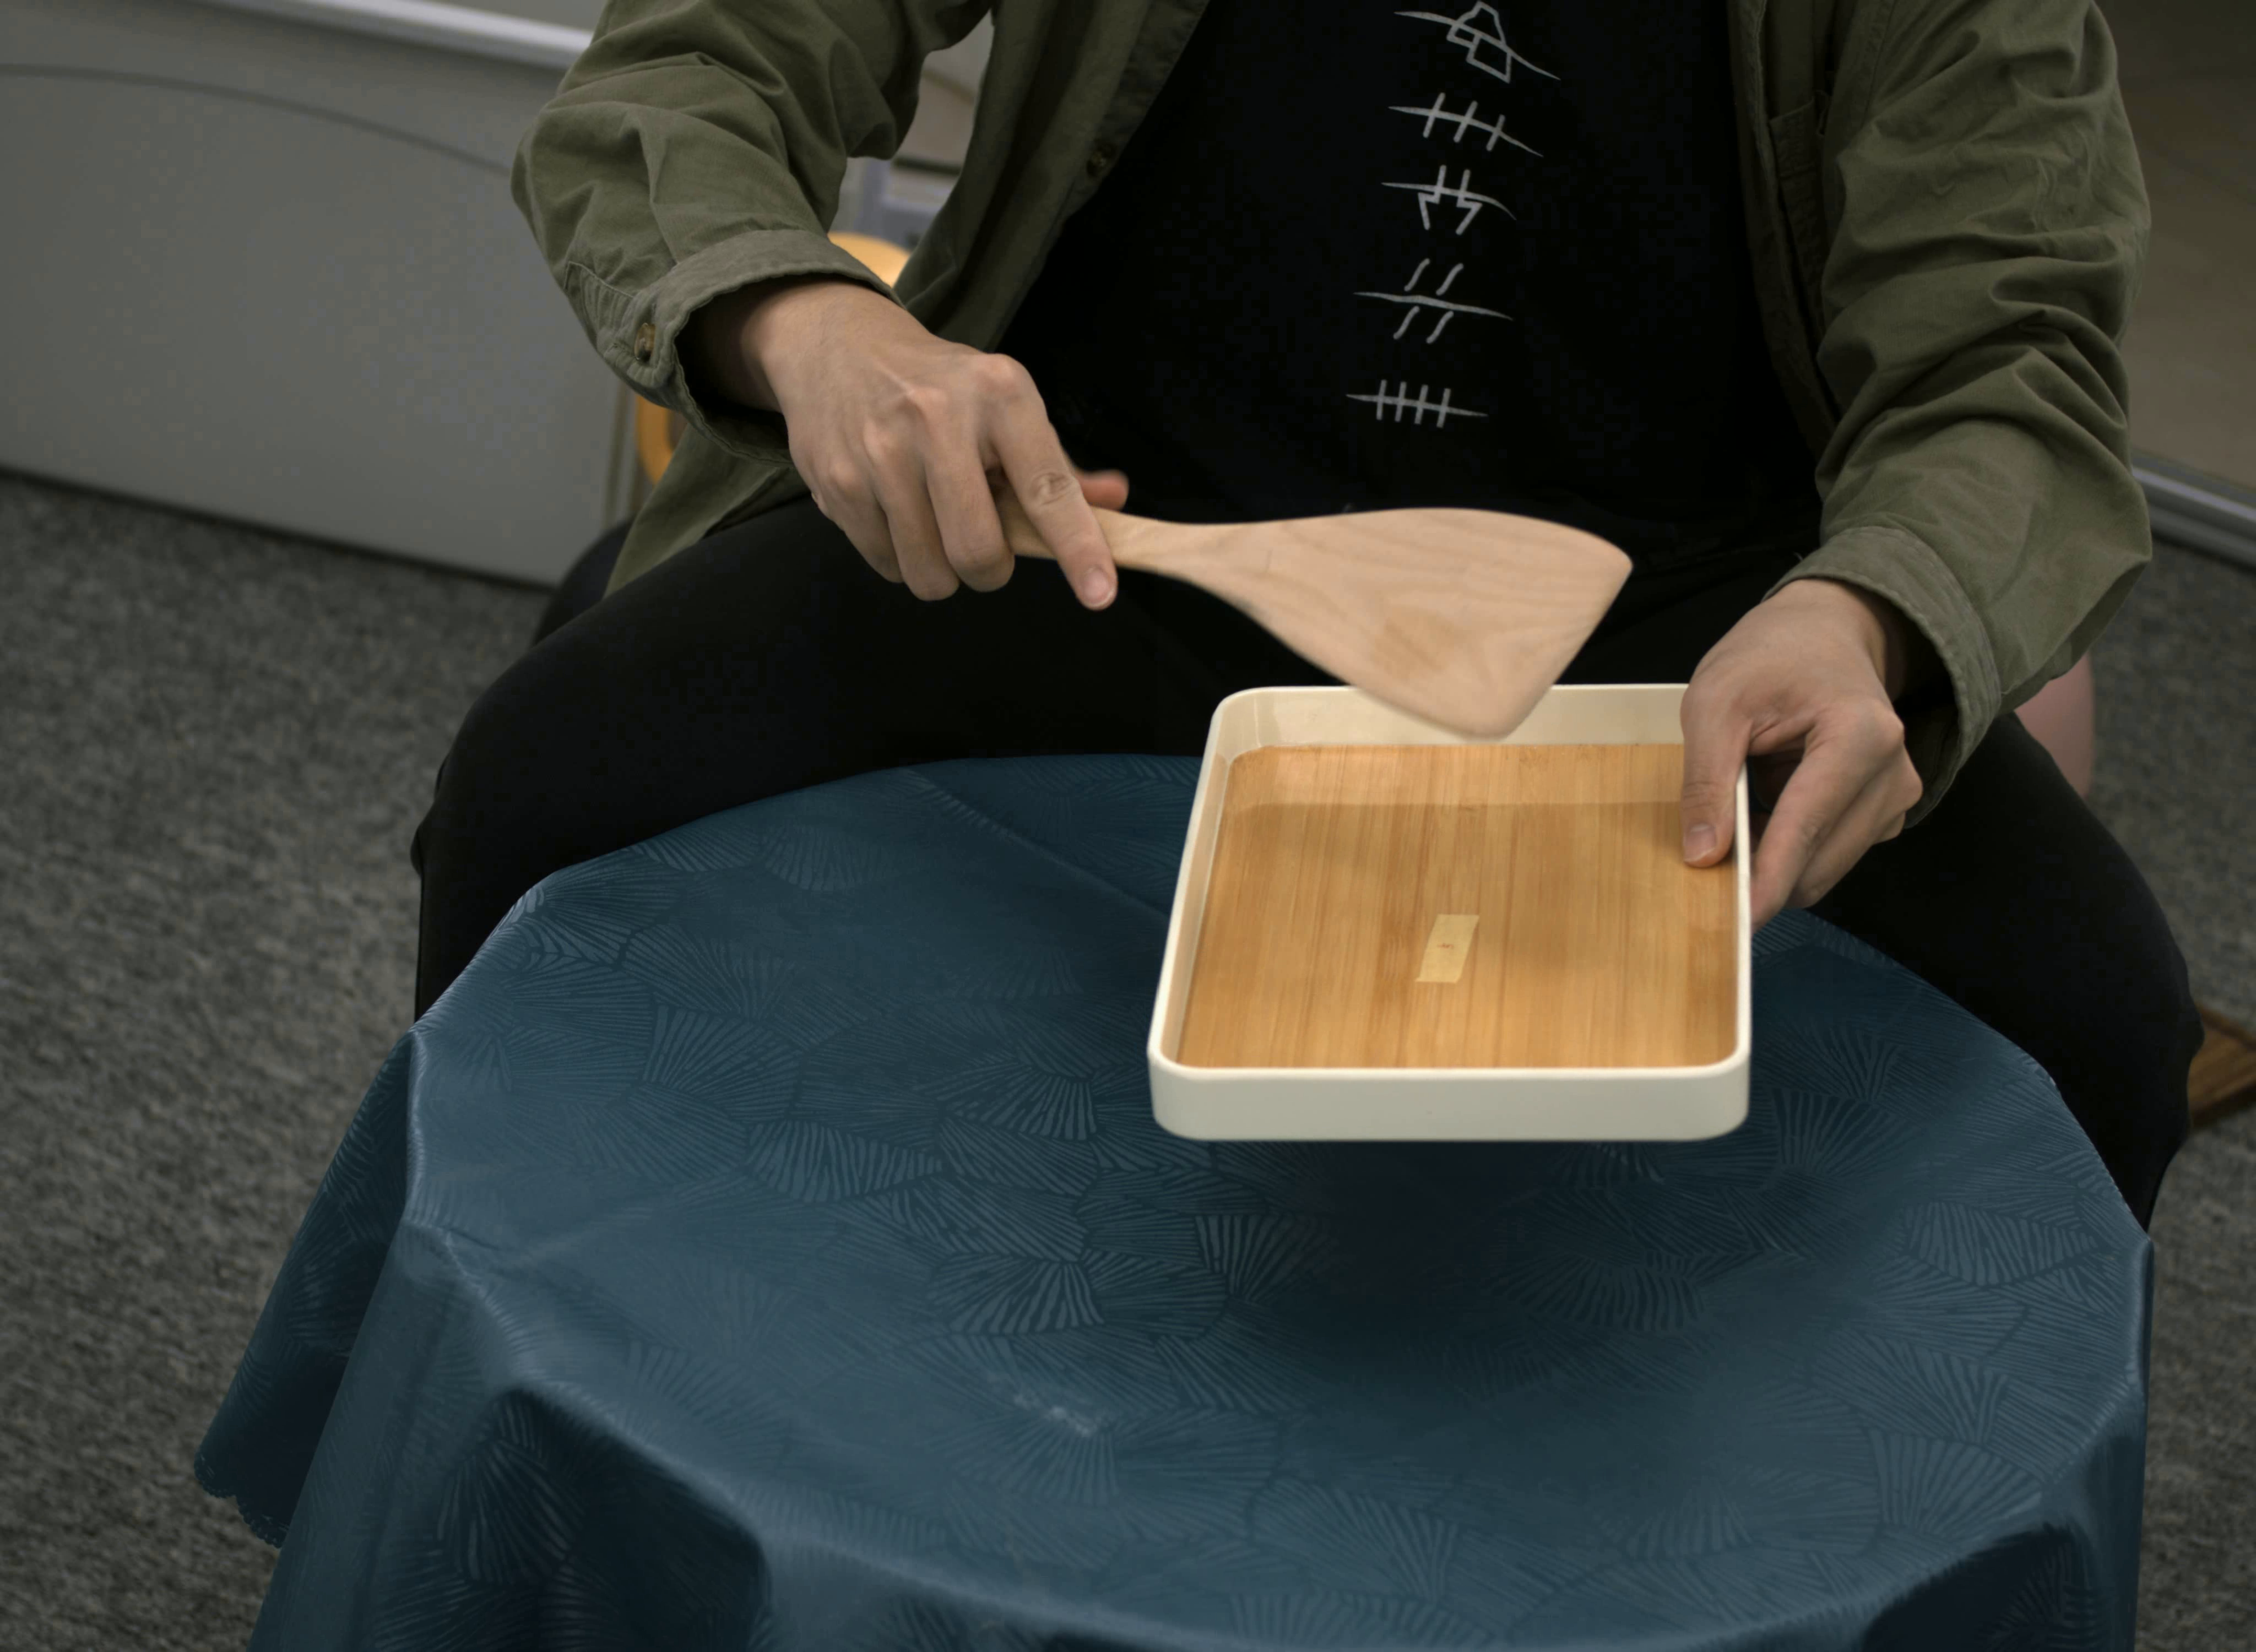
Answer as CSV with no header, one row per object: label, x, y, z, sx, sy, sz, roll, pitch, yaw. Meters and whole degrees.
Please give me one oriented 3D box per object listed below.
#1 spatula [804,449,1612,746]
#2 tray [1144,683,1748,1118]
spatula,0.013,-0.089,1.792,0.329,0.080,0.016,14,-20,39
tray,0.113,0.020,1.794,0.191,0.027,0.301,0,24,7
